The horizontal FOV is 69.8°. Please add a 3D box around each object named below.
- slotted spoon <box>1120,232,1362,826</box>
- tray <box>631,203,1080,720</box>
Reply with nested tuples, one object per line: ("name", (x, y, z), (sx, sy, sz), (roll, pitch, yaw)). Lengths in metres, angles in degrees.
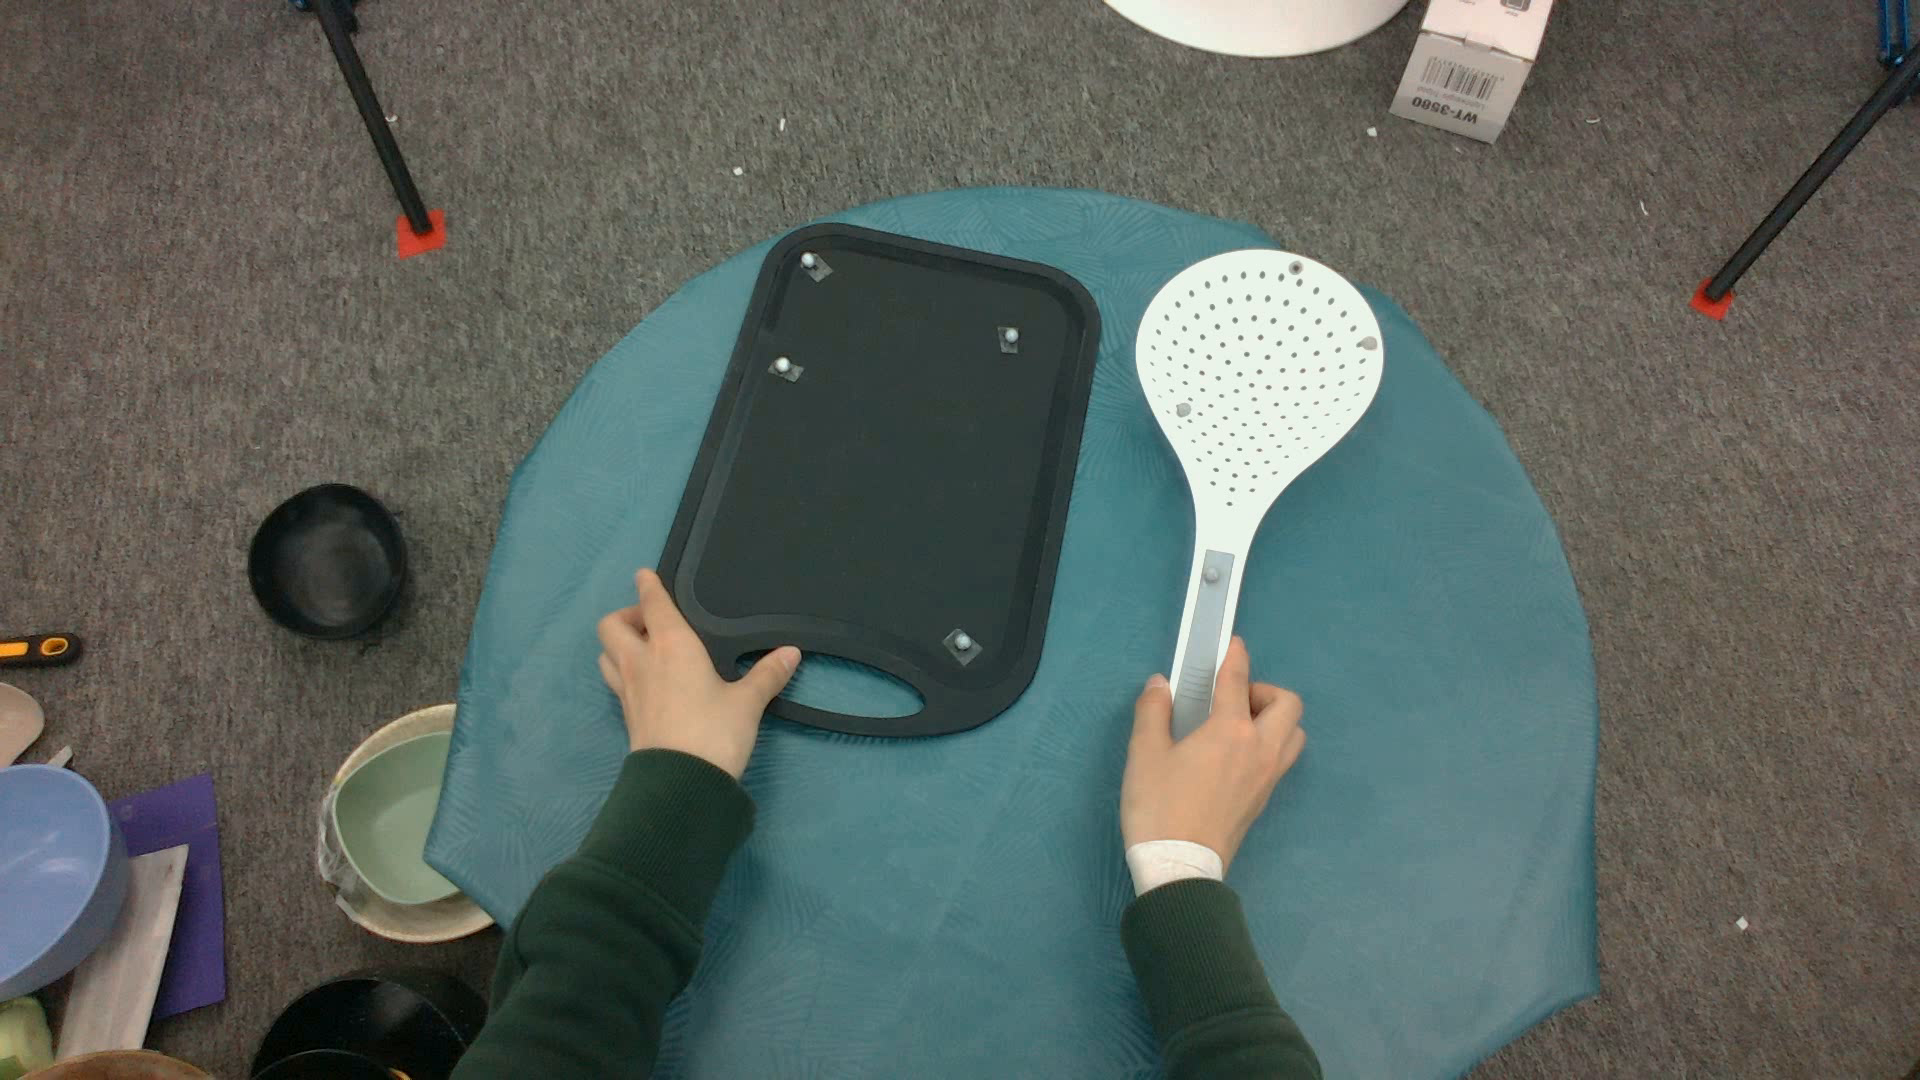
("slotted spoon", (0.134, -0.017, 0.749), (0.136, 0.045, 0.351), (10, 64, 10))
("tray", (-0.052, -0.054, 0.774), (0.211, 0.010, 0.327), (12, 62, 1))
